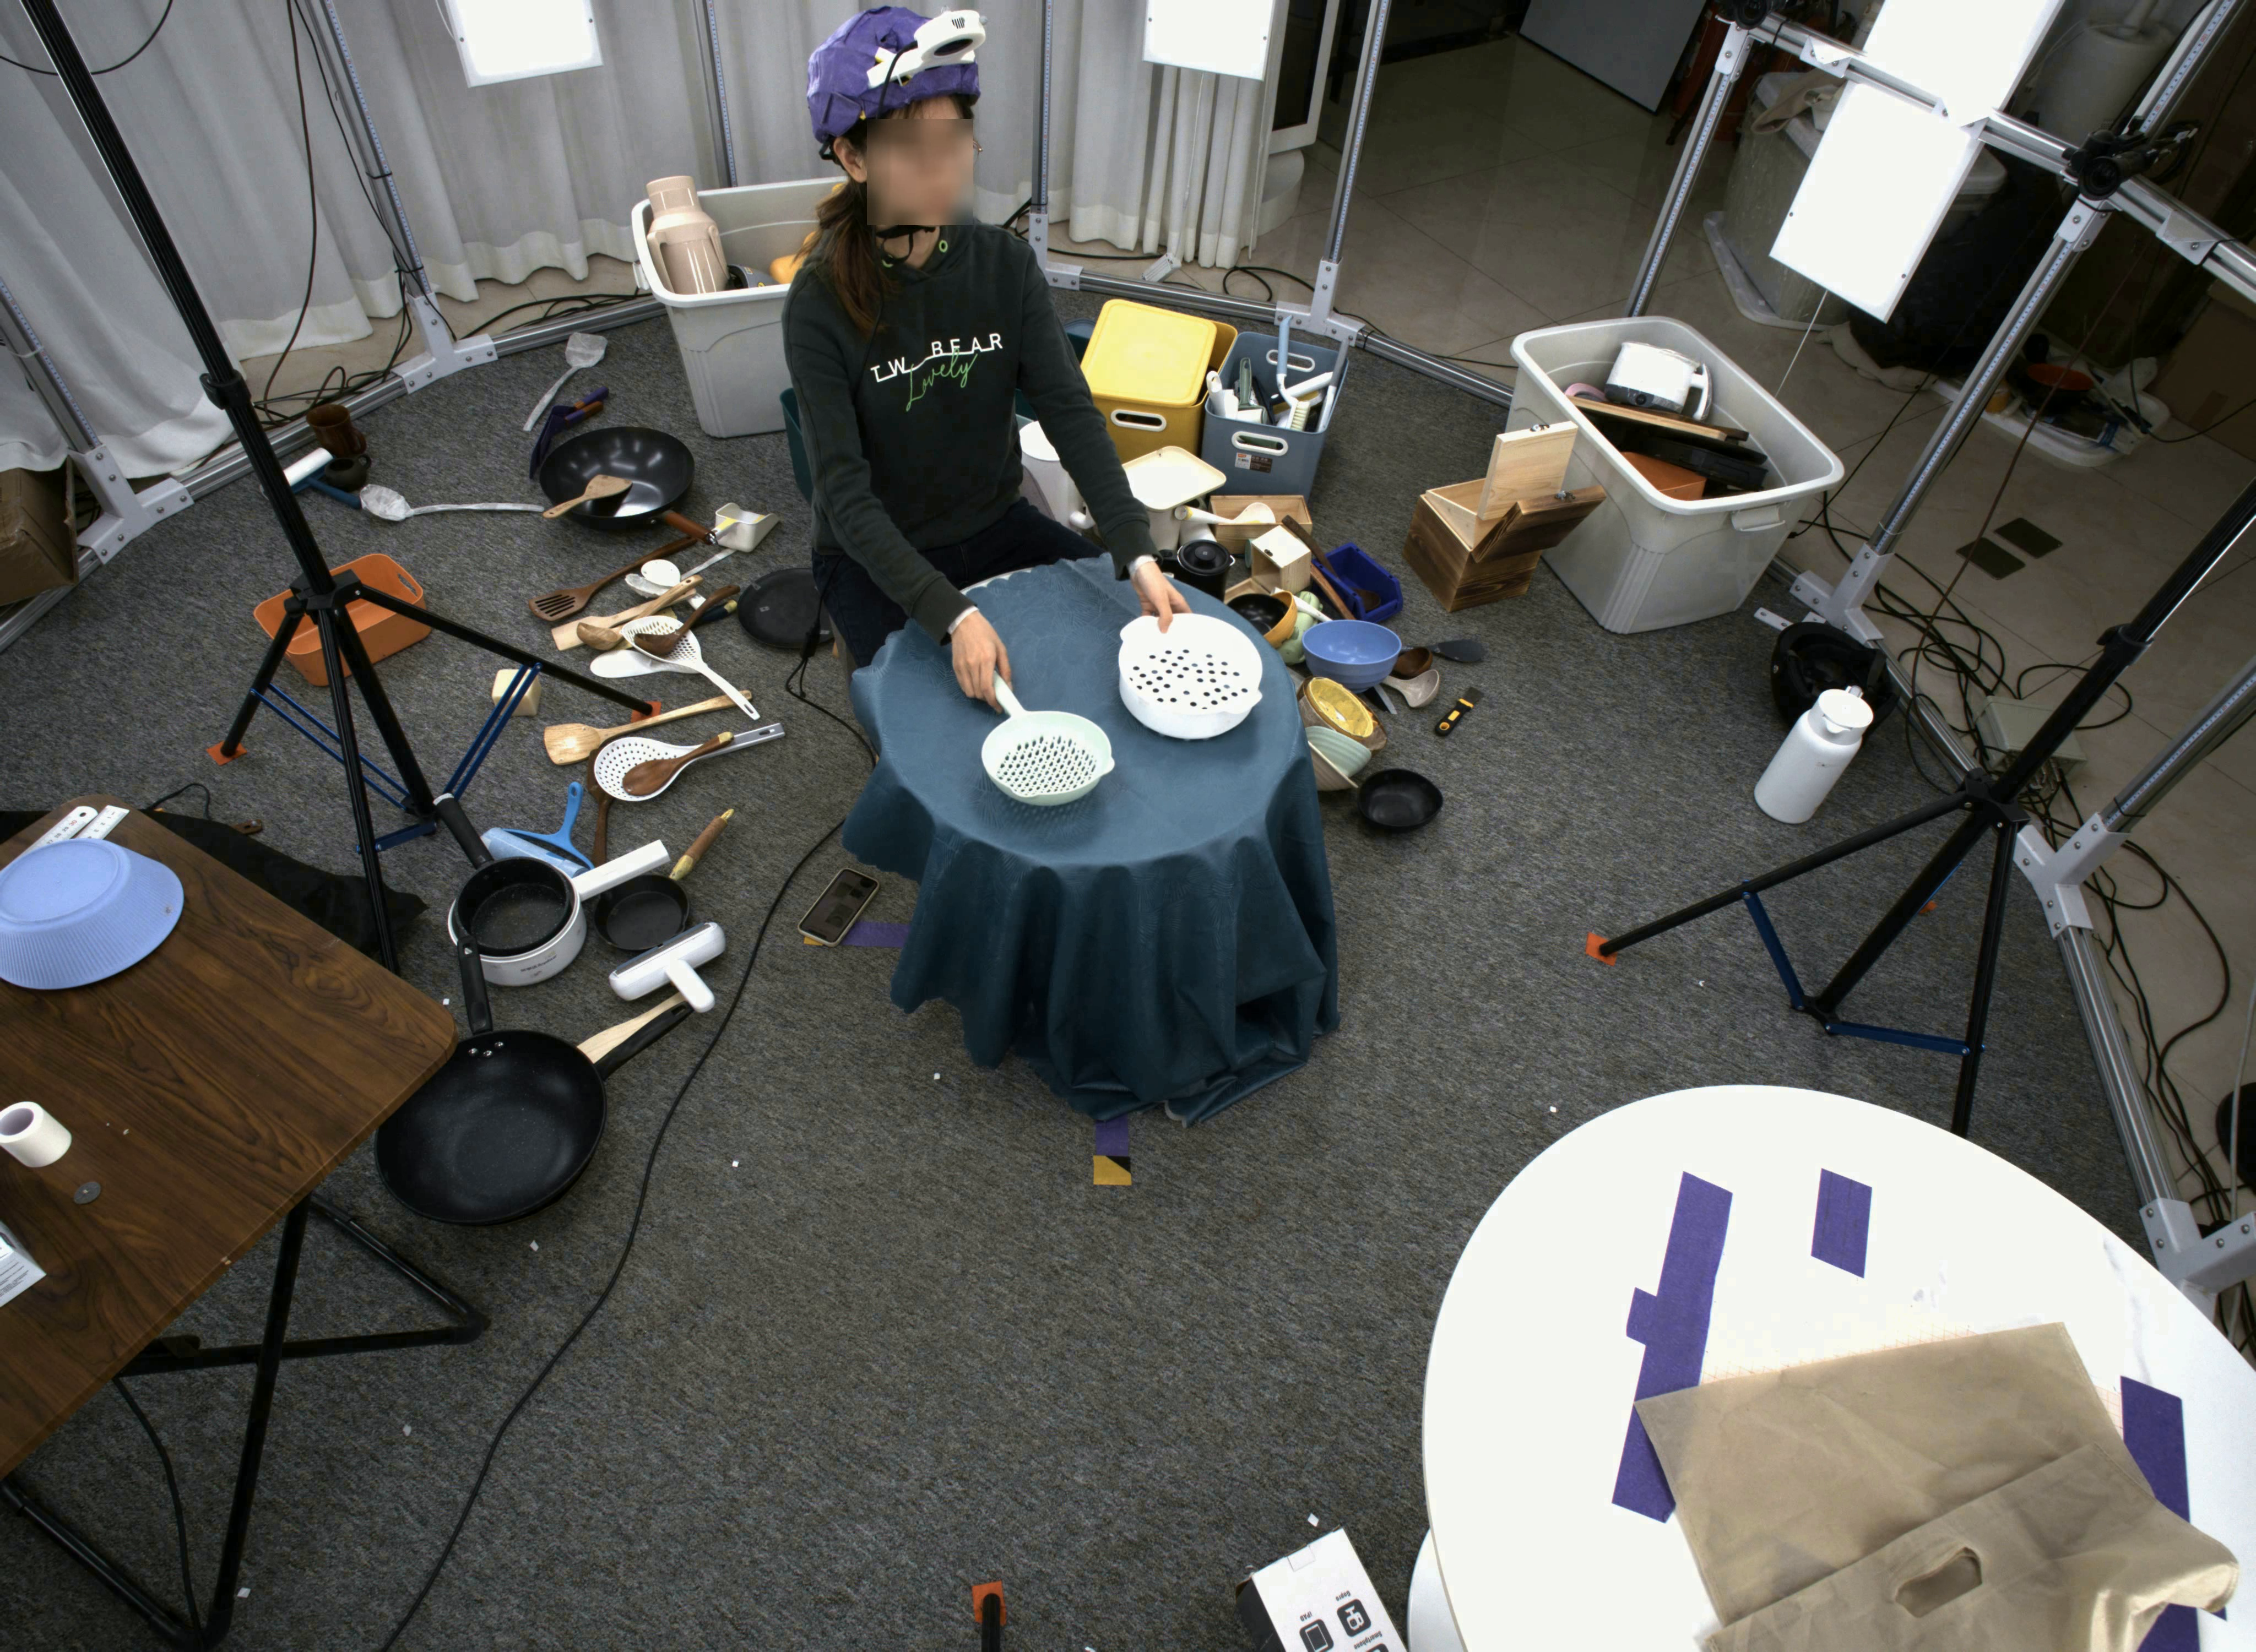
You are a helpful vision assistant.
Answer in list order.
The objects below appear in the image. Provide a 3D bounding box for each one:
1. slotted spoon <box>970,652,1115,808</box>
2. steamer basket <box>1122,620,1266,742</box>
[{"bbox_3d":[-0.148,-0.148,1.761,0.169,0.073,0.367,-18,52,-19],"label":"slotted spoon"},{"bbox_3d":[0.090,-0.206,1.828,0.234,0.067,0.204,35,54,25],"label":"steamer basket"}]
